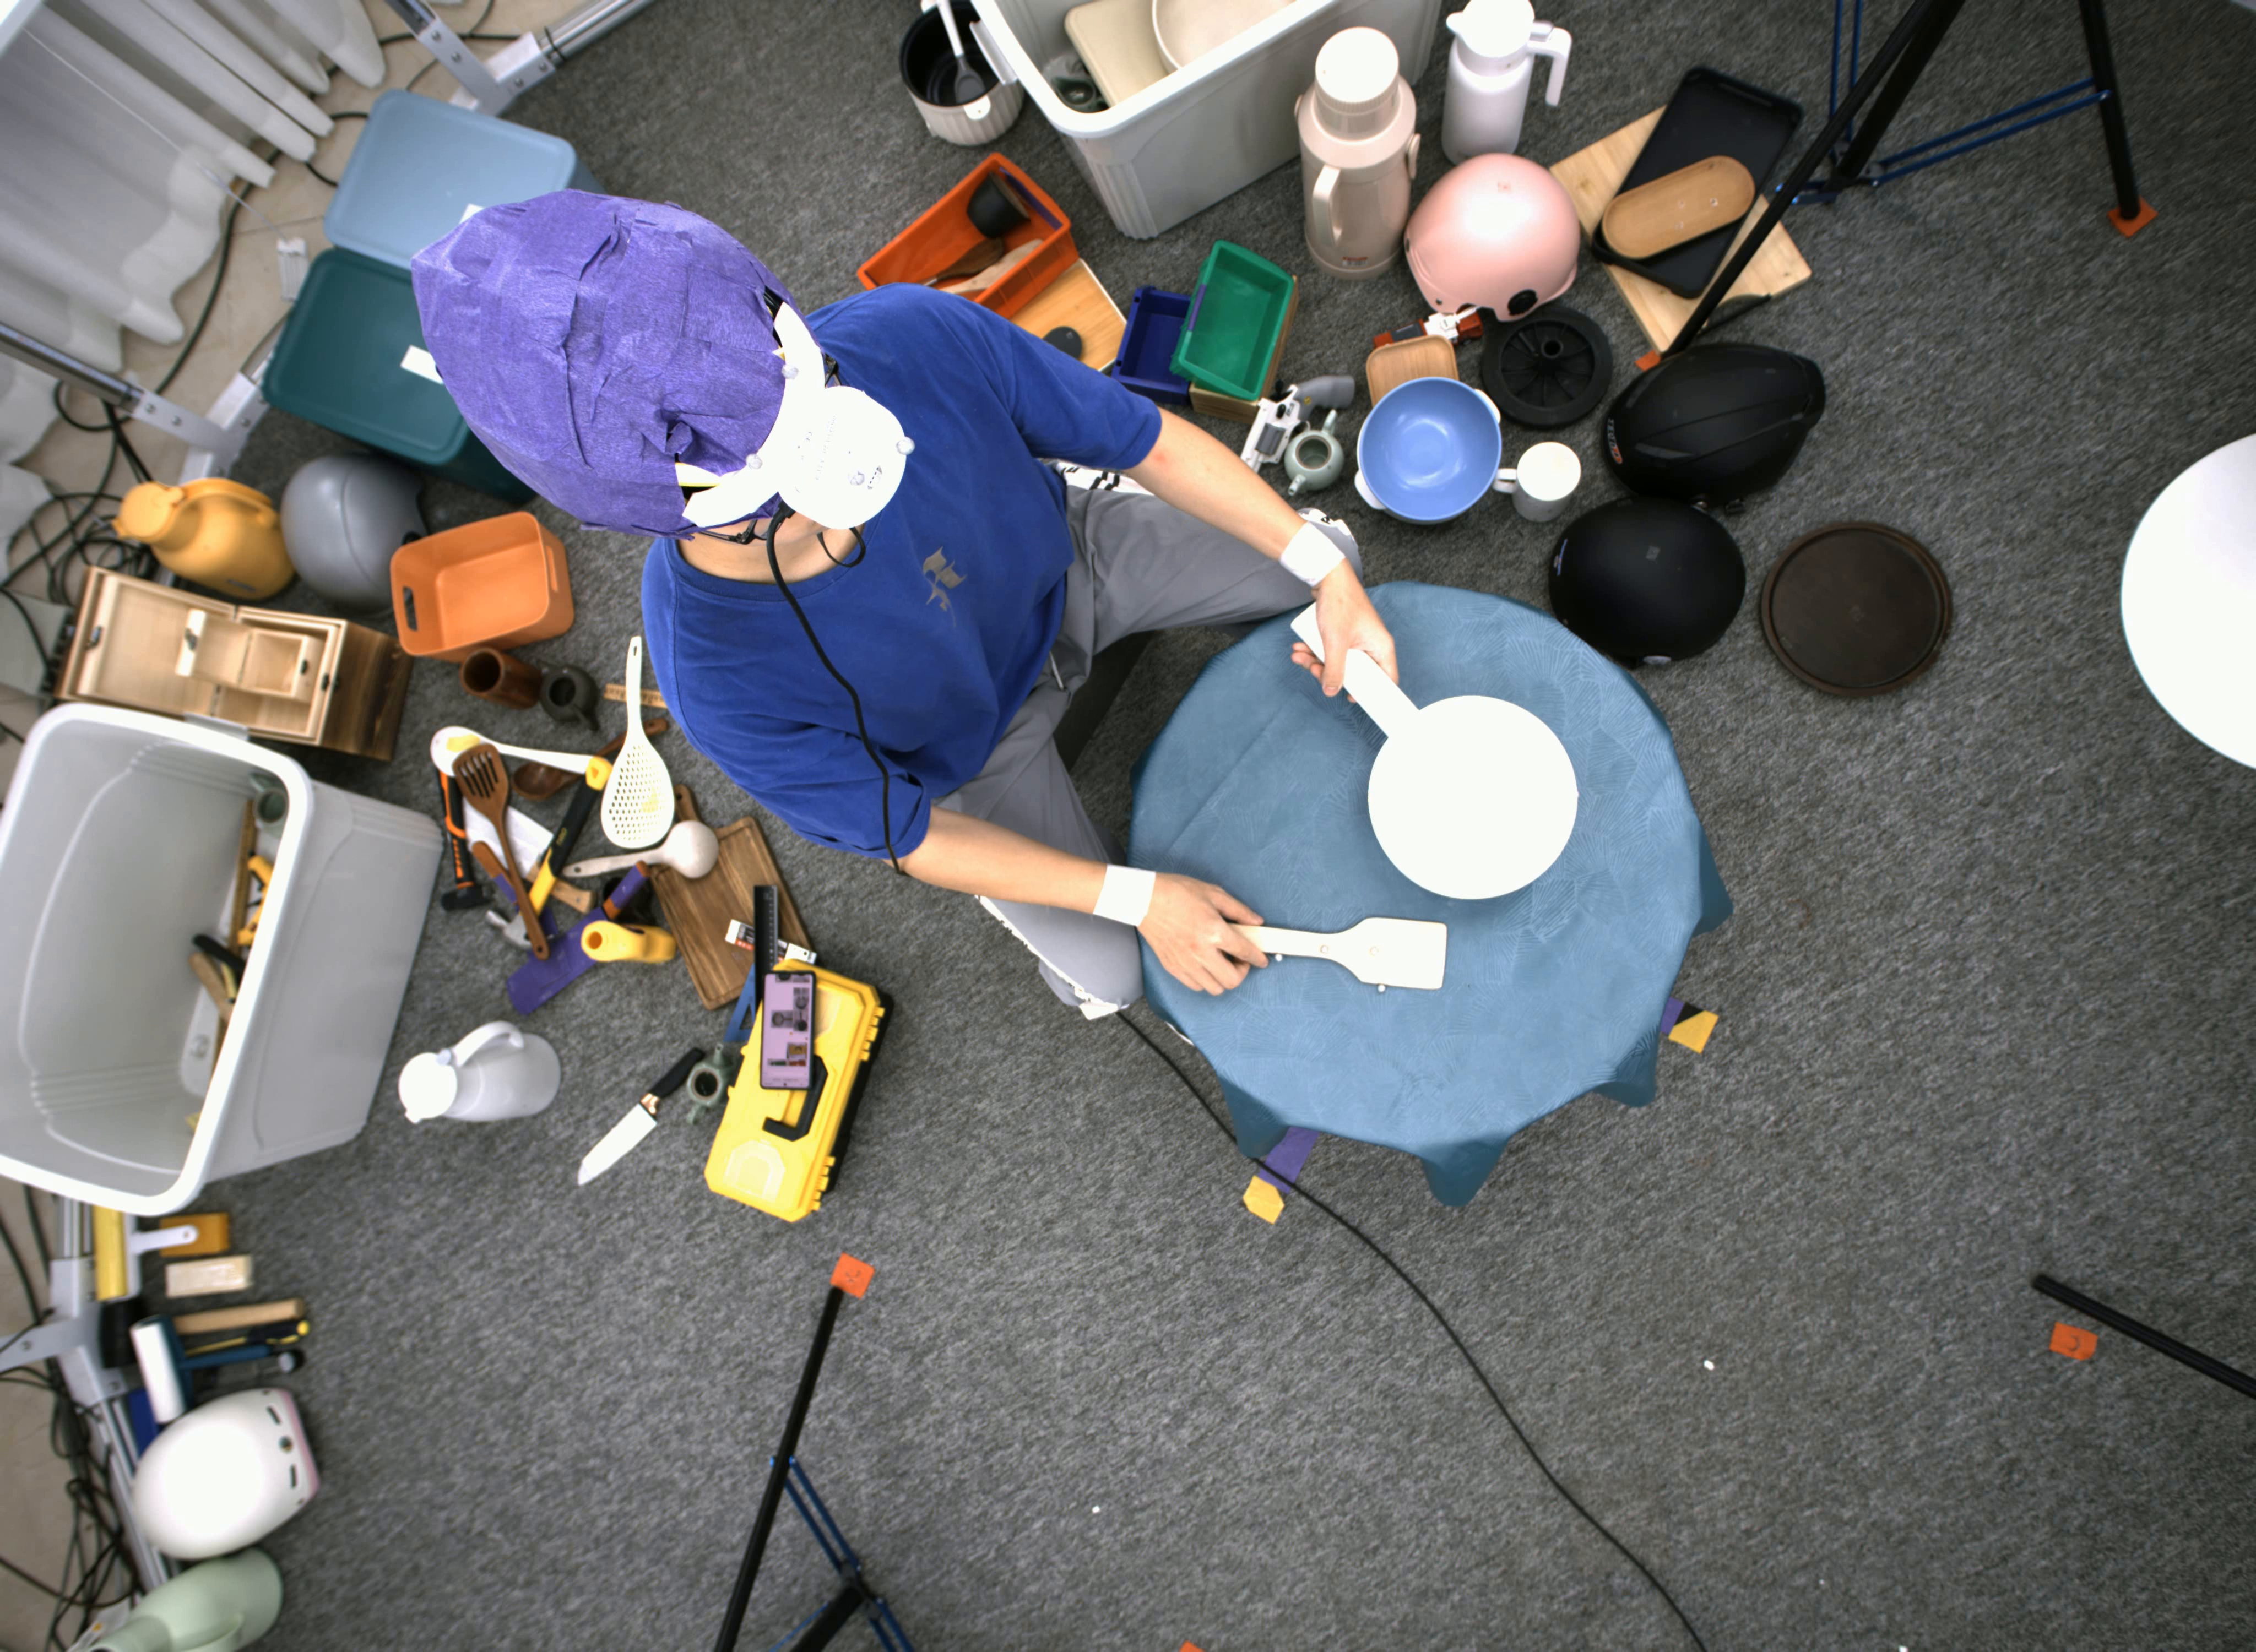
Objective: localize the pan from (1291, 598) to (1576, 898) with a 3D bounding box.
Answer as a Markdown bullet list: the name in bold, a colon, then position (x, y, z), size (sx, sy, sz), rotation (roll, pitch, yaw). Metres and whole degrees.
- **pan**: position (0.298, -0.084, 1.411), size (0.202, 0.102, 0.353), rotation (-42, 81, 7)

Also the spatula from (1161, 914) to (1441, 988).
- **spatula**: position (0.180, 0.121, 1.457), size (0.293, 0.010, 0.072), rotation (5, 89, 6)
